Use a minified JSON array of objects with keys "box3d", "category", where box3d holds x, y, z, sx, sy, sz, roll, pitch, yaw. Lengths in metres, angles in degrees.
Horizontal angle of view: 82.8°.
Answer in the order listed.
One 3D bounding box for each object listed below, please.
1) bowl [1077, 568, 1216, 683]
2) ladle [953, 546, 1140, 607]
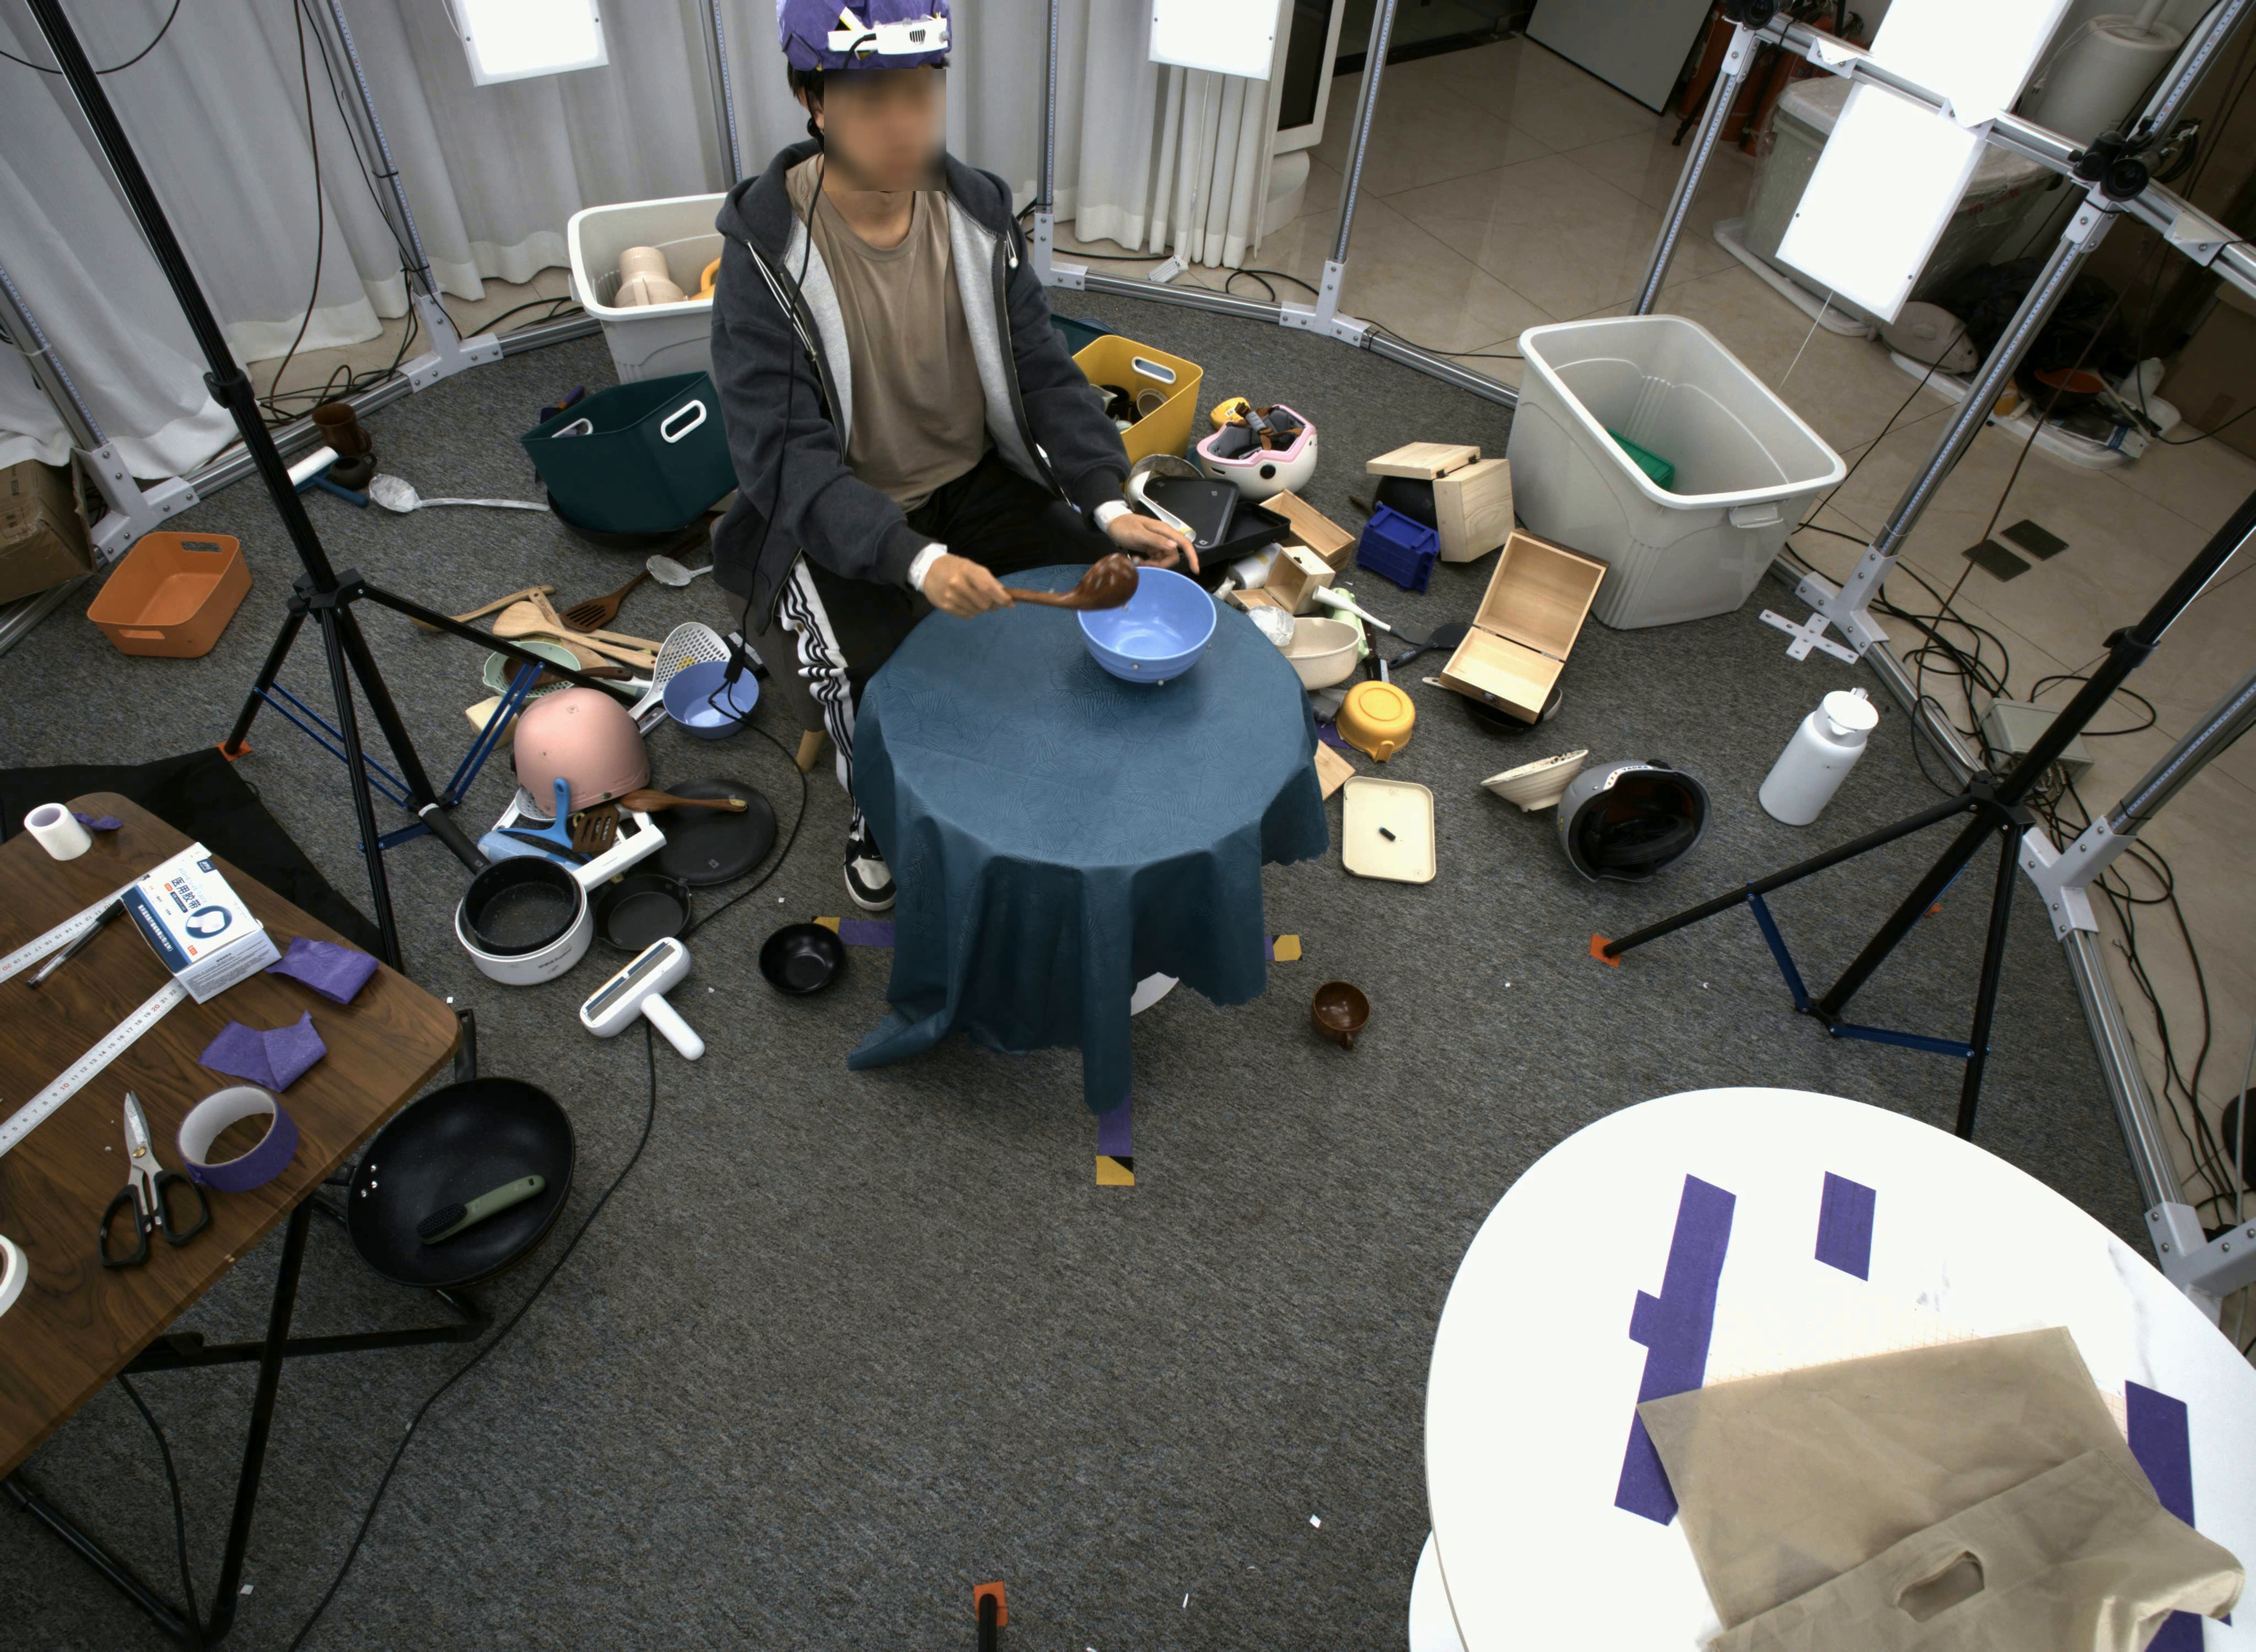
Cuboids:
[{"box3d":[0.024,-0.272,1.844,0.196,0.093,0.201,1,48,-2],"category":"bowl"},{"box3d":[-0.111,-0.328,1.691,0.276,0.080,0.077,8,69,33],"category":"ladle"}]
